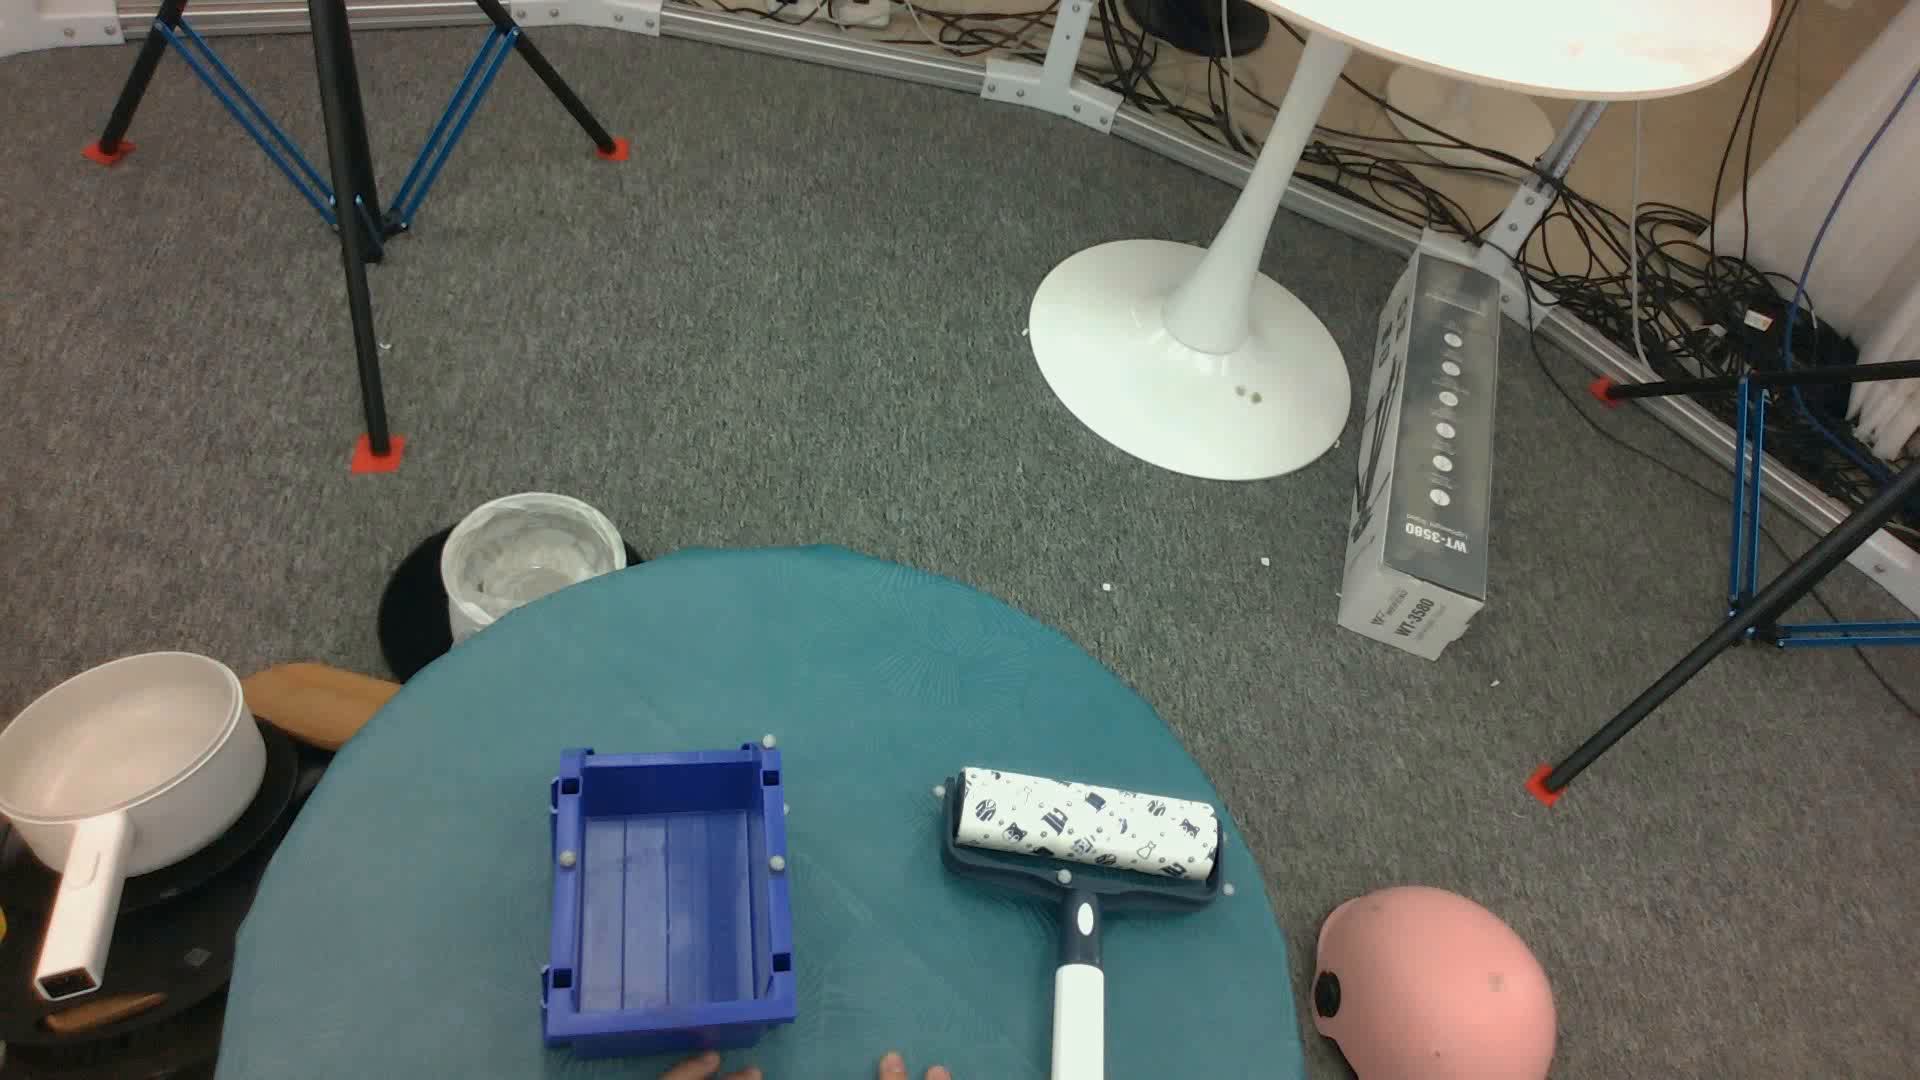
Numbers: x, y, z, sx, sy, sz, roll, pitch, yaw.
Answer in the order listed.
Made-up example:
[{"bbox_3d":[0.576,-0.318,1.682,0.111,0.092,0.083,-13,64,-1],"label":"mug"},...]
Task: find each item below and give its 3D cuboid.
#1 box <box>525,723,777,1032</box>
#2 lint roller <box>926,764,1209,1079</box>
[{"bbox_3d":[-0.171,0.179,0.761,0.124,0.081,0.180,1,55,-14],"label":"box"},{"bbox_3d":[0.063,0.253,0.792,0.176,0.050,0.248,10,51,-9],"label":"lint roller"}]
